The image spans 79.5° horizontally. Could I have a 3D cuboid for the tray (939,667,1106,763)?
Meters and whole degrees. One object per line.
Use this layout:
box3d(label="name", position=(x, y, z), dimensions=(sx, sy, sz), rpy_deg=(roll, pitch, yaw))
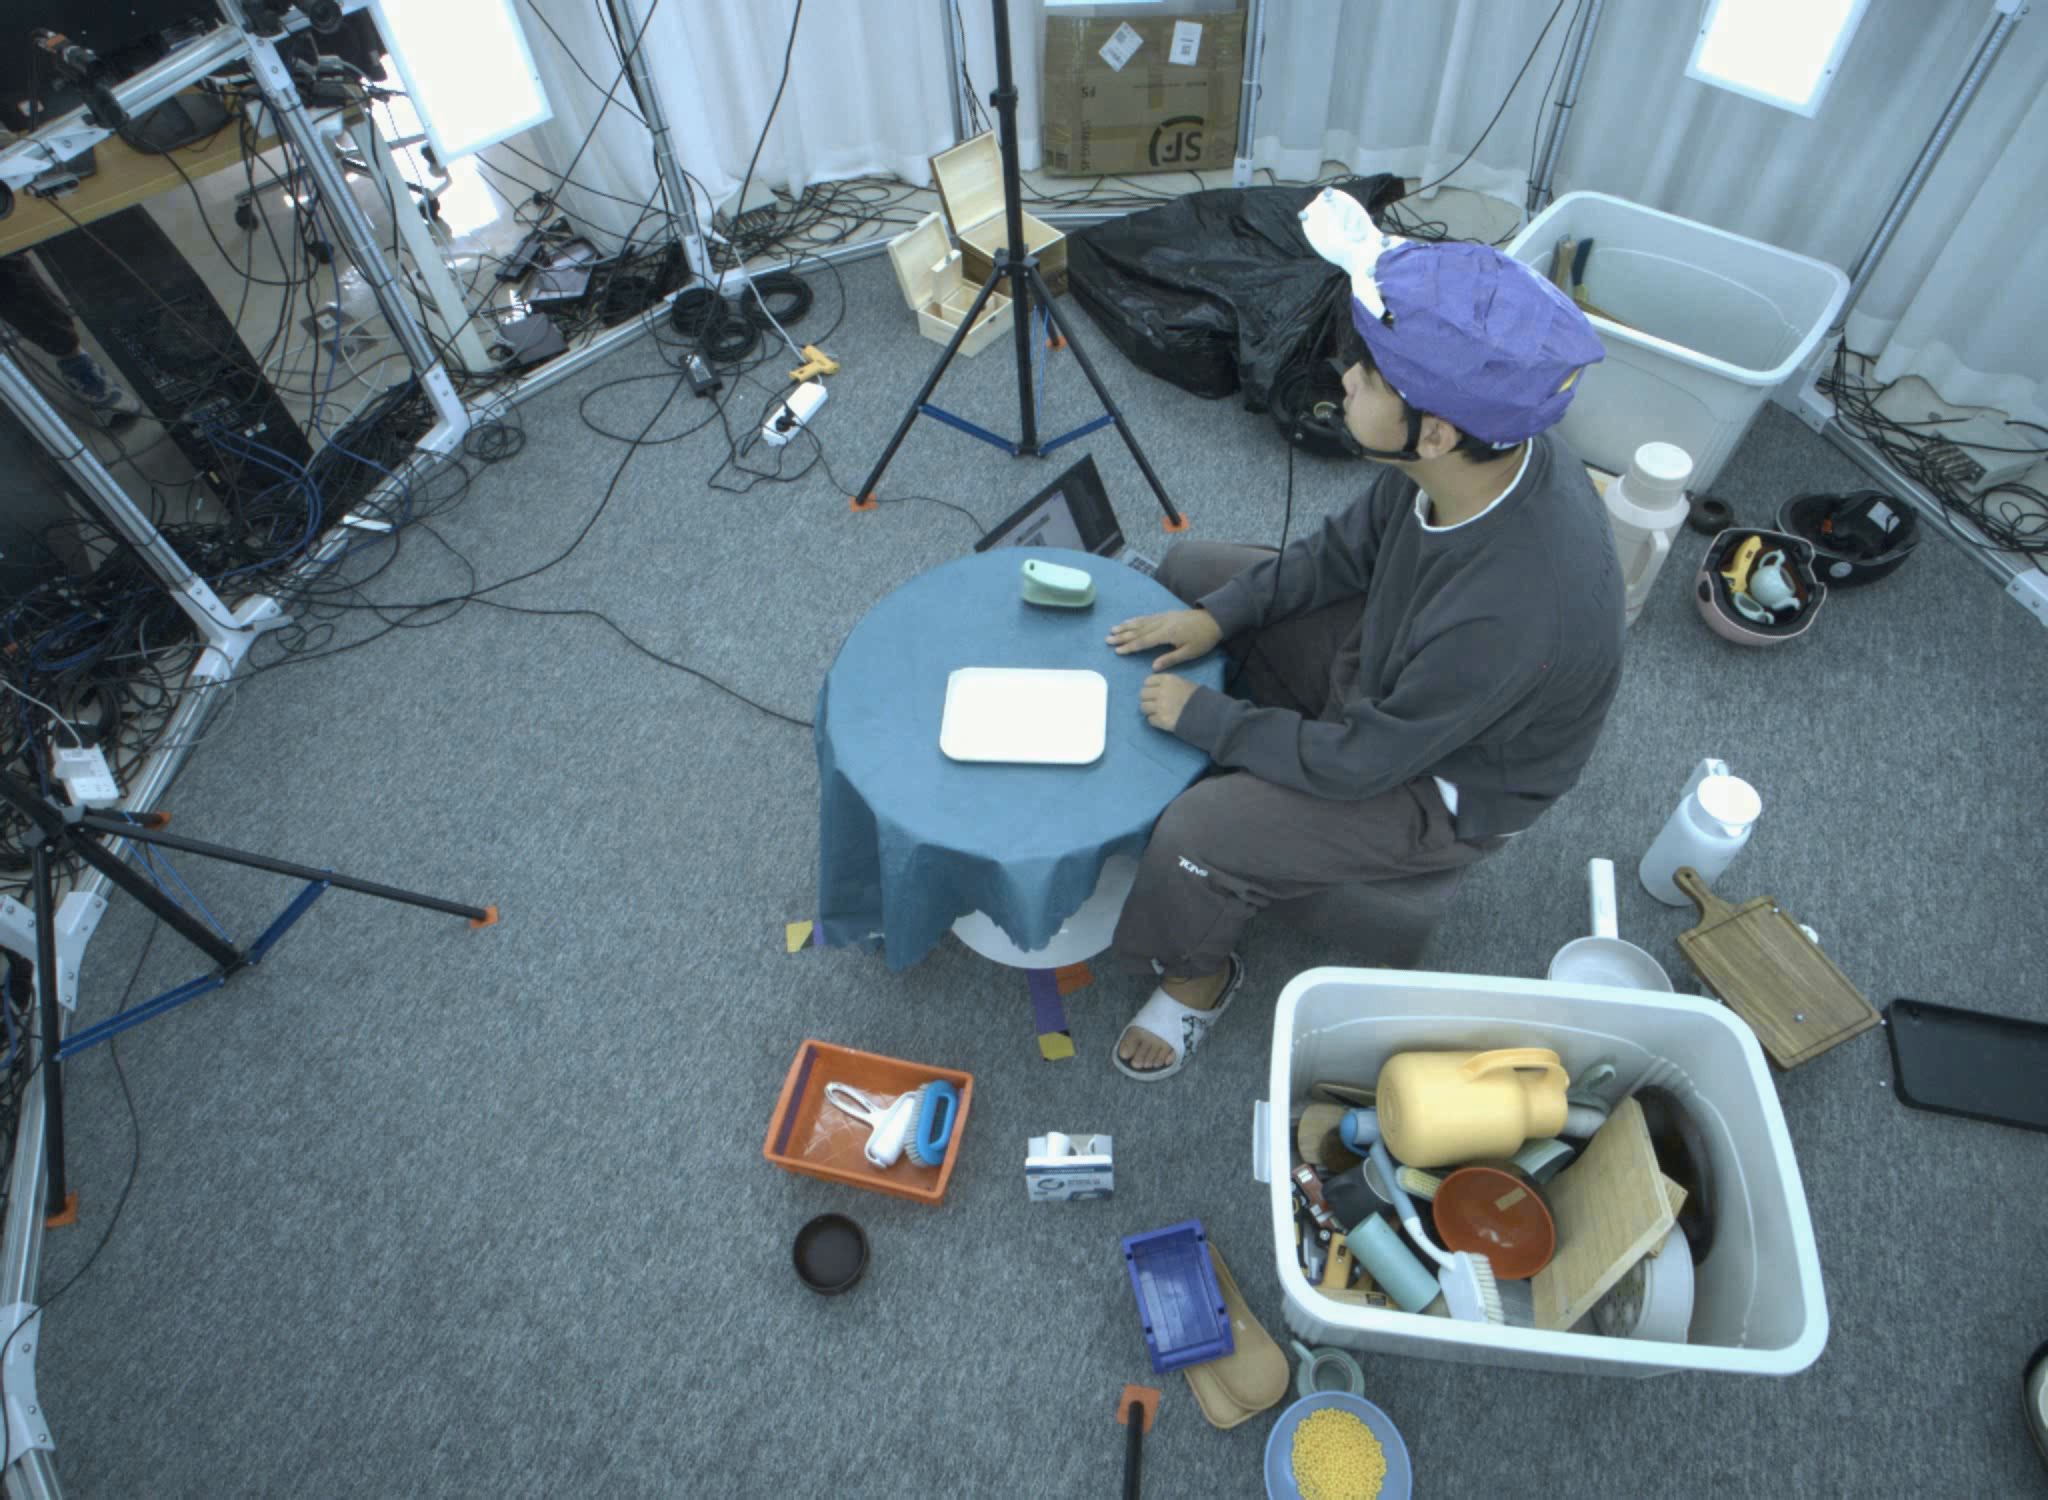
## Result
box3d(label="tray", position=(0.000, -0.051, 1.813), dimensions=(0.239, 0.017, 0.170), rpy_deg=(2, 55, 3))

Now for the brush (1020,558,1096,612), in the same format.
box3d(label="brush", position=(0.051, -0.256, 1.934), dimensions=(0.123, 0.076, 0.059), rpy_deg=(13, 56, -6))
